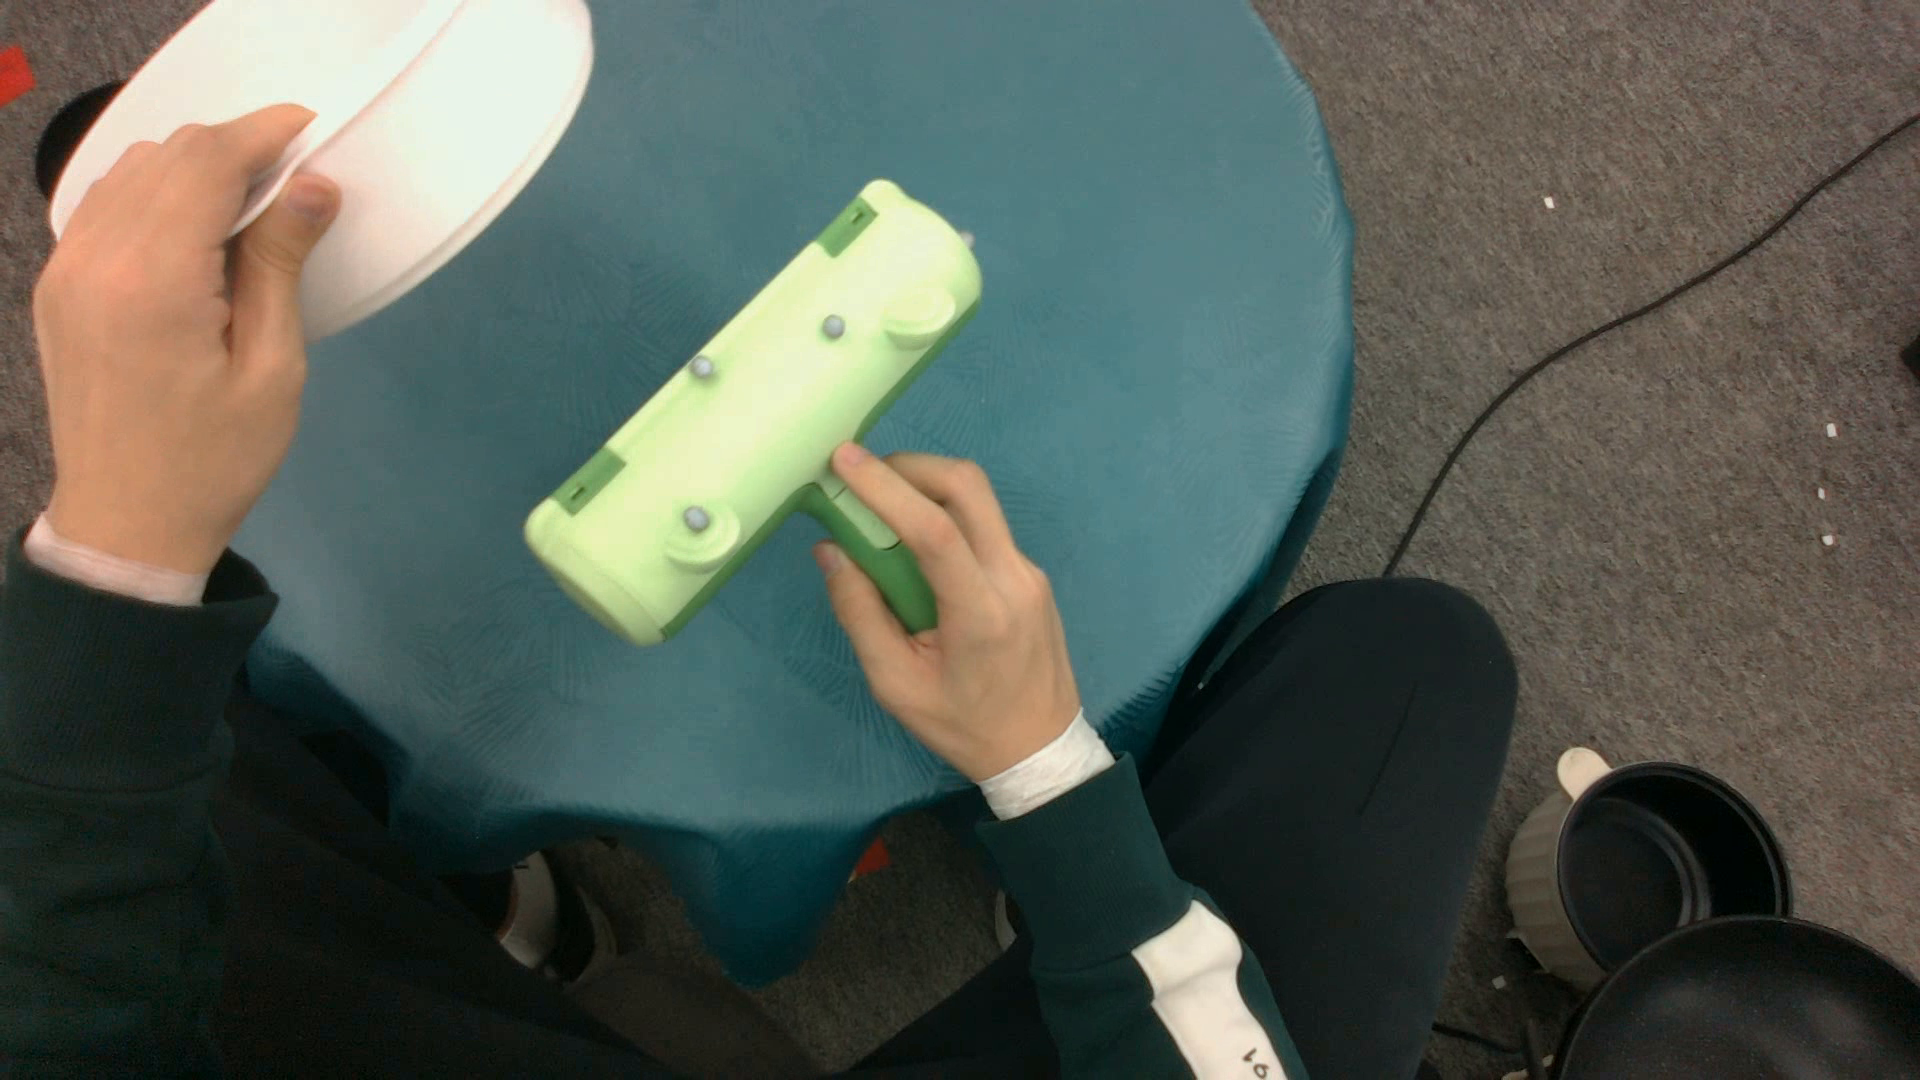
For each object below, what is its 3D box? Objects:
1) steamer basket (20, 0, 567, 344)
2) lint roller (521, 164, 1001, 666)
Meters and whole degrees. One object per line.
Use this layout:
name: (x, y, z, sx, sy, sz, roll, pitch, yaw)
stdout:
steamer basket: (-0.247, -0.164, 0.521, 0.201, 0.069, 0.231, -22, 48, 13)
lint roller: (-0.033, -0.014, 0.523, 0.183, 0.082, 0.199, 47, 70, -17)
